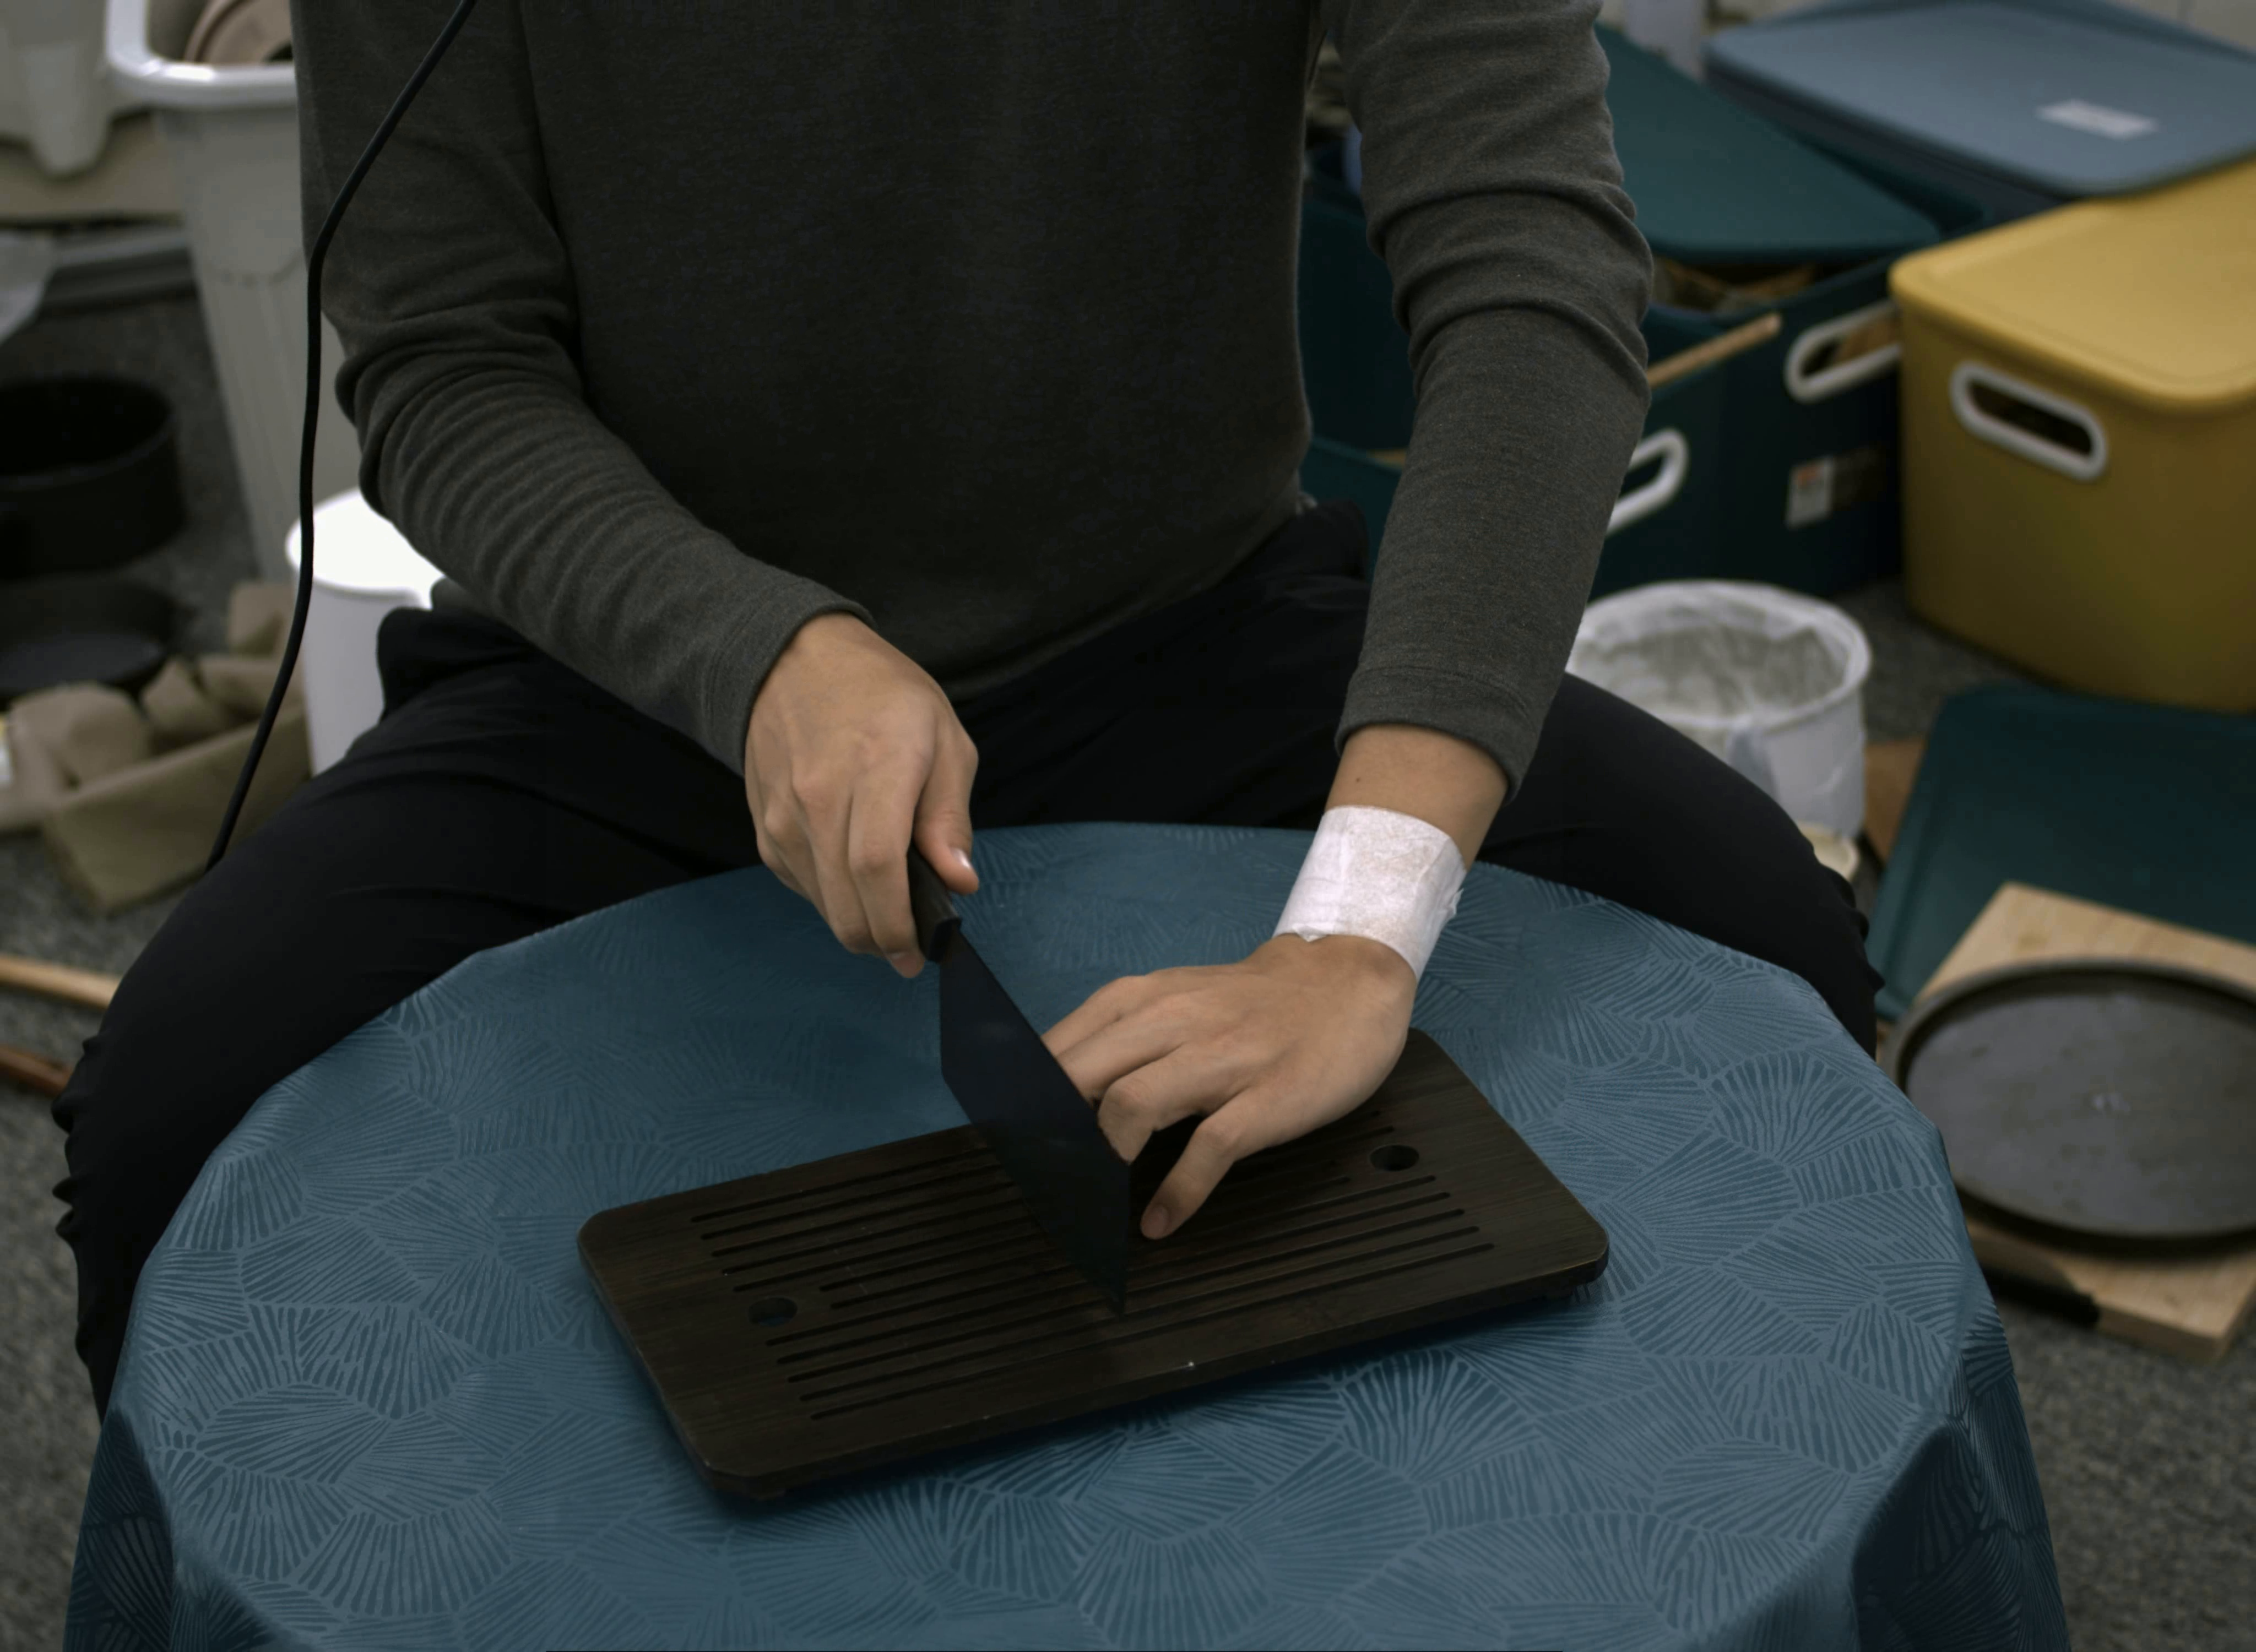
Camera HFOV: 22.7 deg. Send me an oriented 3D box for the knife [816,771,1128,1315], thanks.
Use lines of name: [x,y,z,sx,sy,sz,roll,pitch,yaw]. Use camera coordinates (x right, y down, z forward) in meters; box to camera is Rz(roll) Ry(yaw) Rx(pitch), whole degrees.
knife: [-0.052,0.063,1.854,0.021,0.080,0.305,-6,30,-19]

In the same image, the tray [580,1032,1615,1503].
tray: [-0.011,0.140,1.807,0.306,0.018,0.171,-12,28,-18]
